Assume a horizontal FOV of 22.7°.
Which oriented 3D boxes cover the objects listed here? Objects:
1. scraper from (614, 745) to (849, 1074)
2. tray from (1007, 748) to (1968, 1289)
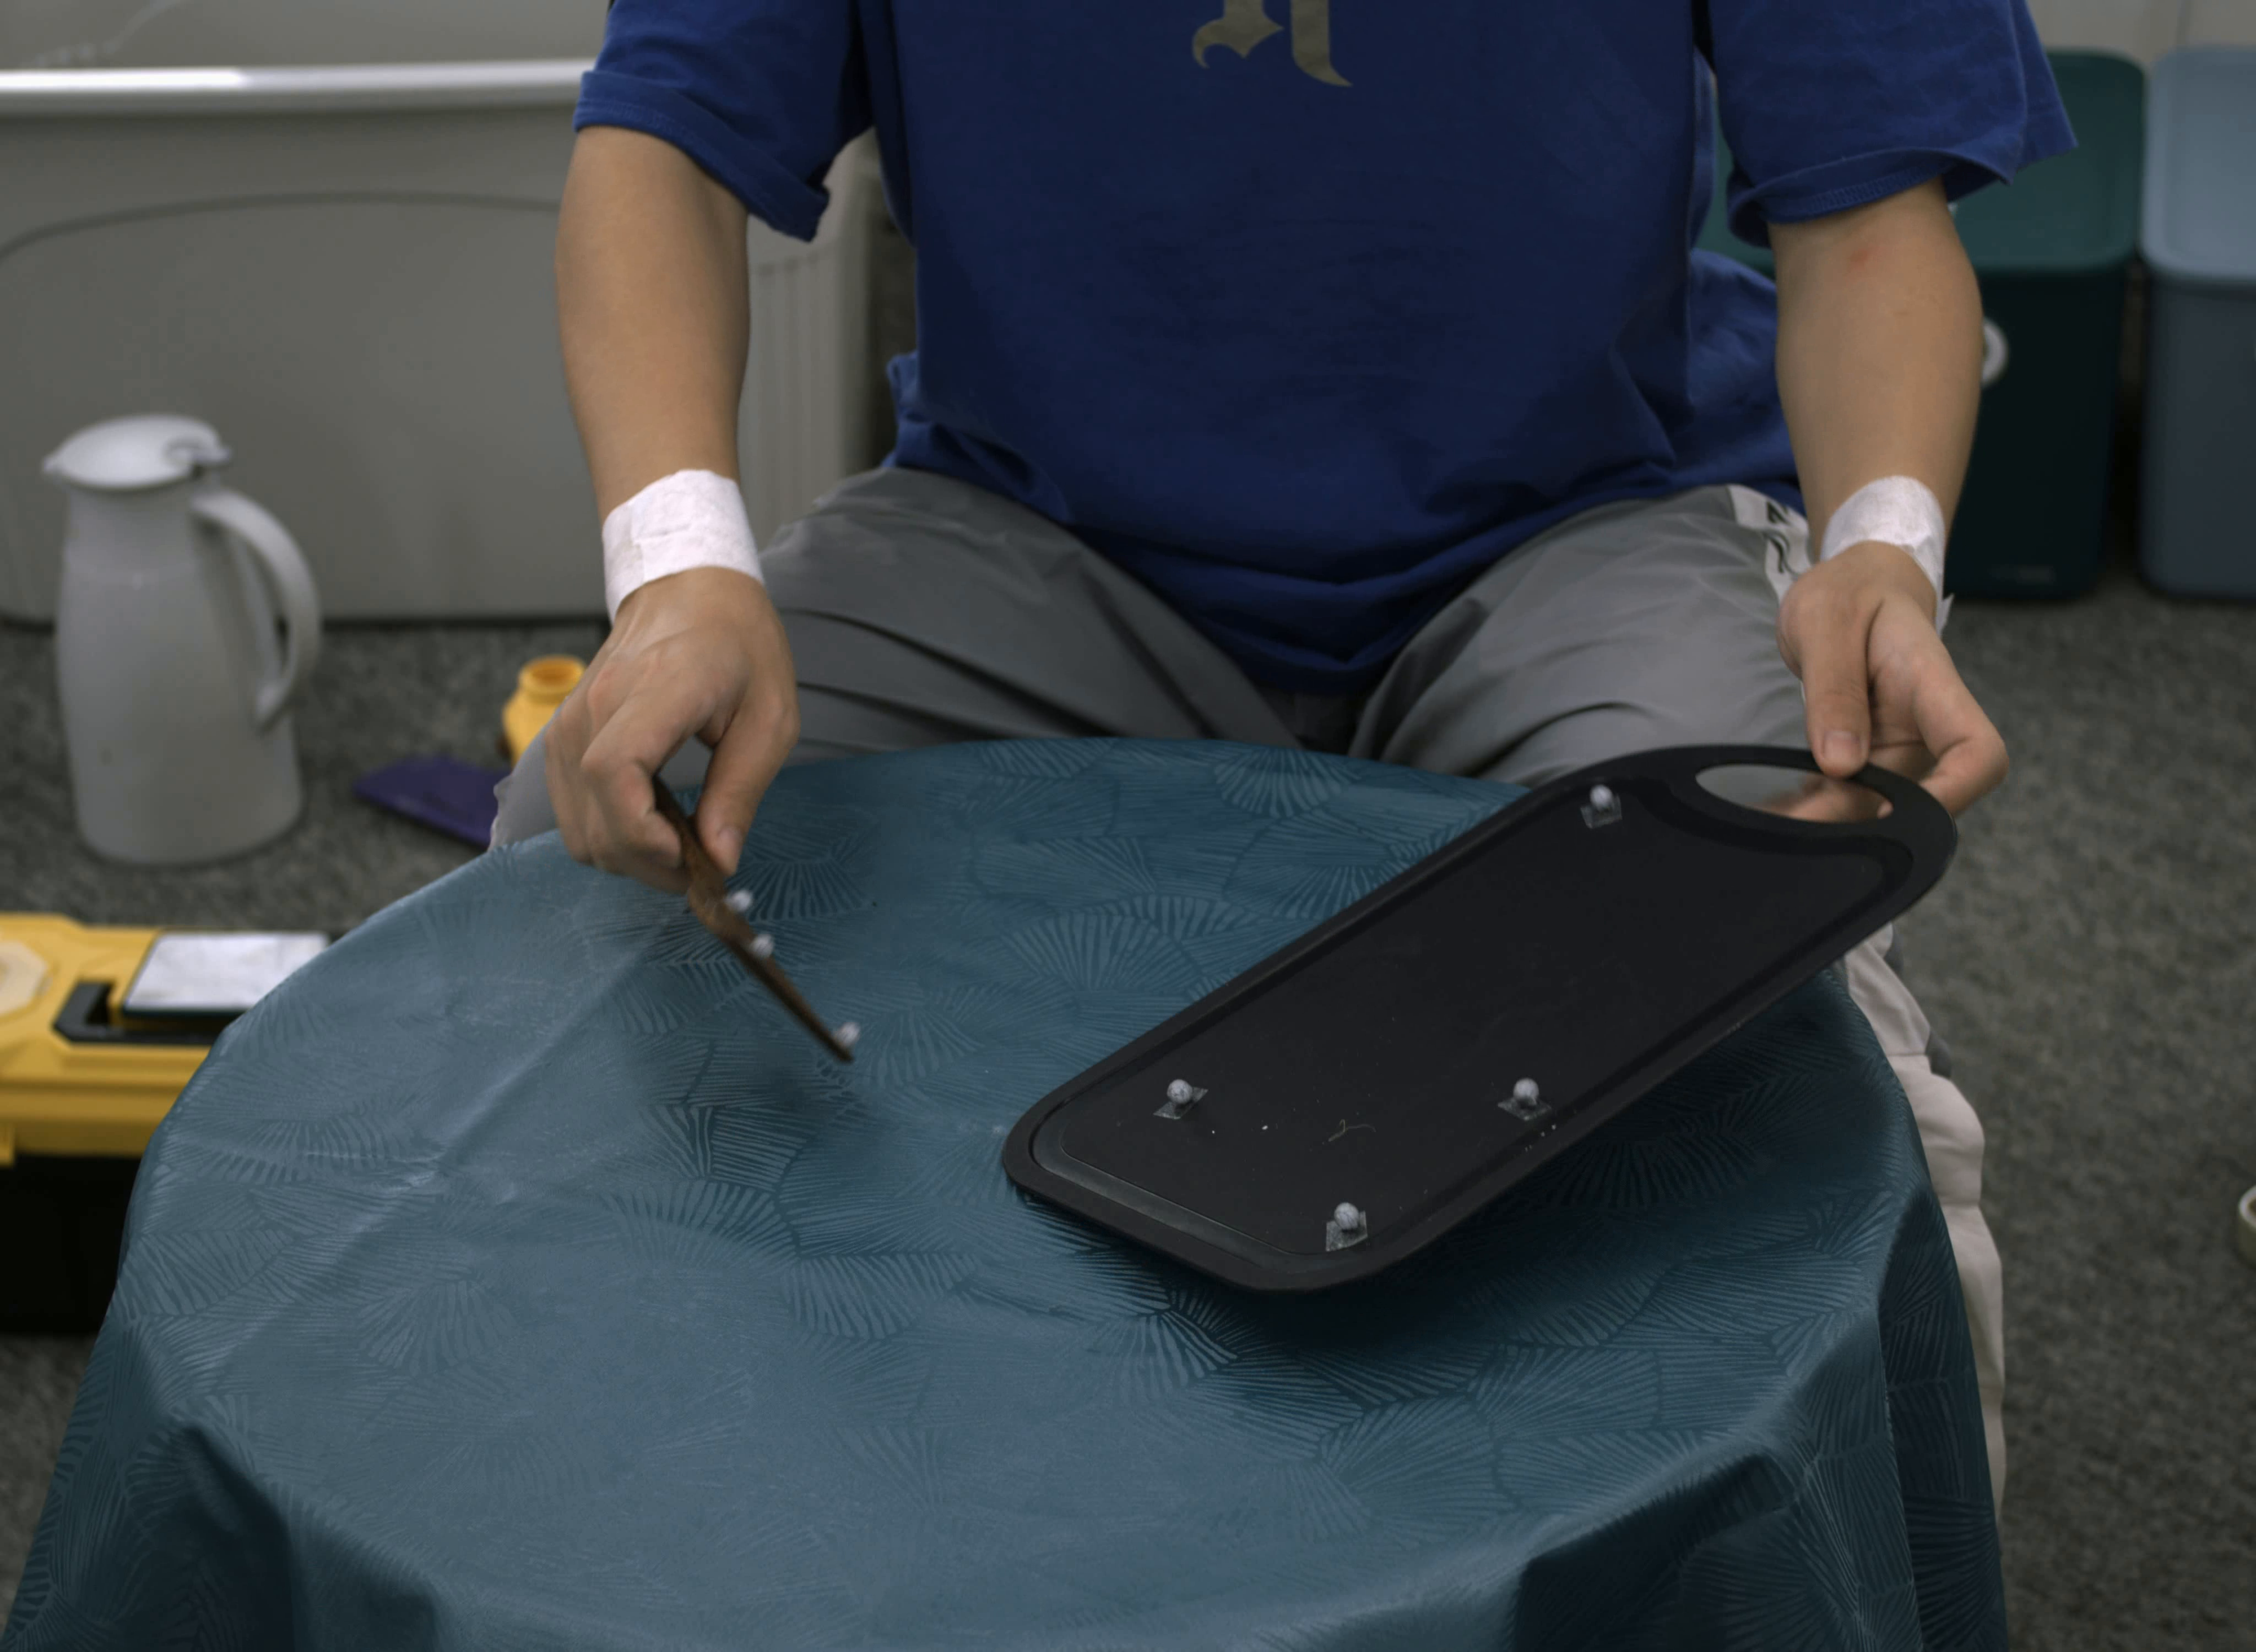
[{"bbox_3d":[-0.148,0.022,1.971,0.011,0.075,0.213,-40,31,2],"label":"scraper"},{"bbox_3d":[0.125,0.054,1.883,0.329,0.010,0.210,-31,26,-26],"label":"tray"}]
